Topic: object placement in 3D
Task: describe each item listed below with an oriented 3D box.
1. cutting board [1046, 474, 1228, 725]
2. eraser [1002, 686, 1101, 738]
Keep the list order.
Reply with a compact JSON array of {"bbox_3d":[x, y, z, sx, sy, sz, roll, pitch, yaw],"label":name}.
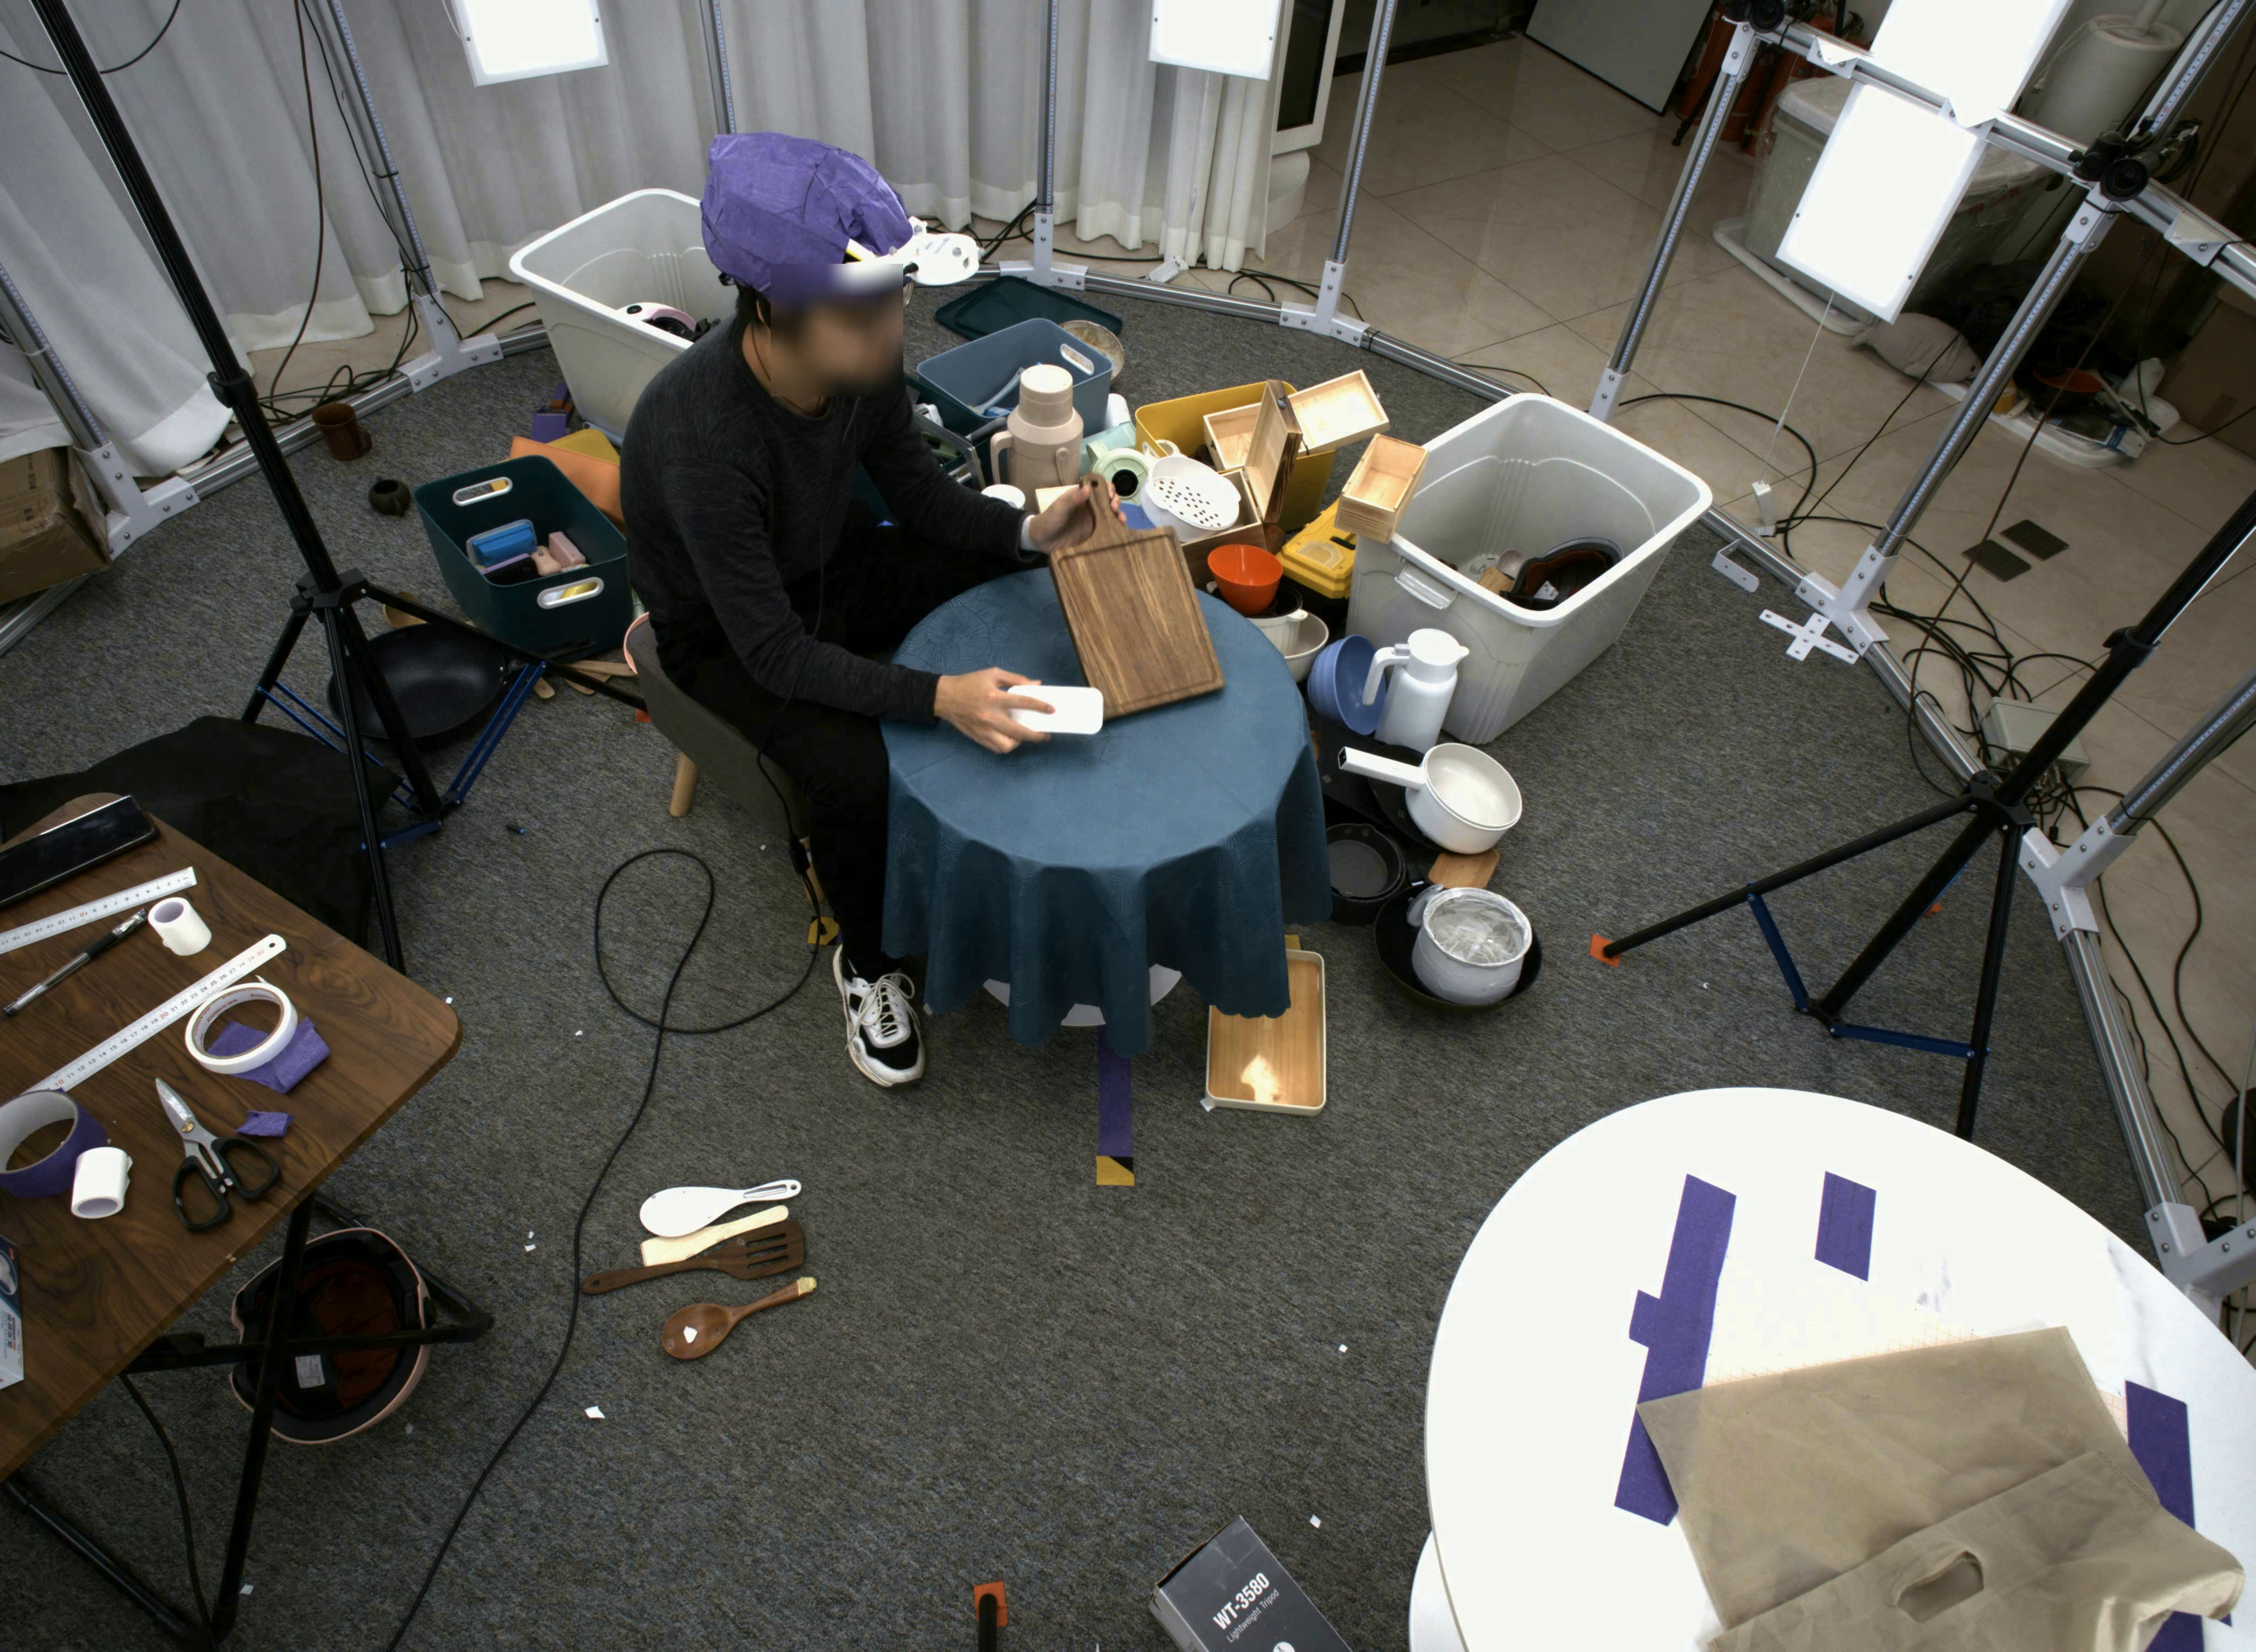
[{"bbox_3d":[-0.001,-0.334,1.829,0.201,0.023,0.354,-17,84,-18],"label":"cutting board"},{"bbox_3d":[-0.102,-0.153,1.727,0.131,0.034,0.064,4,83,0],"label":"eraser"}]
